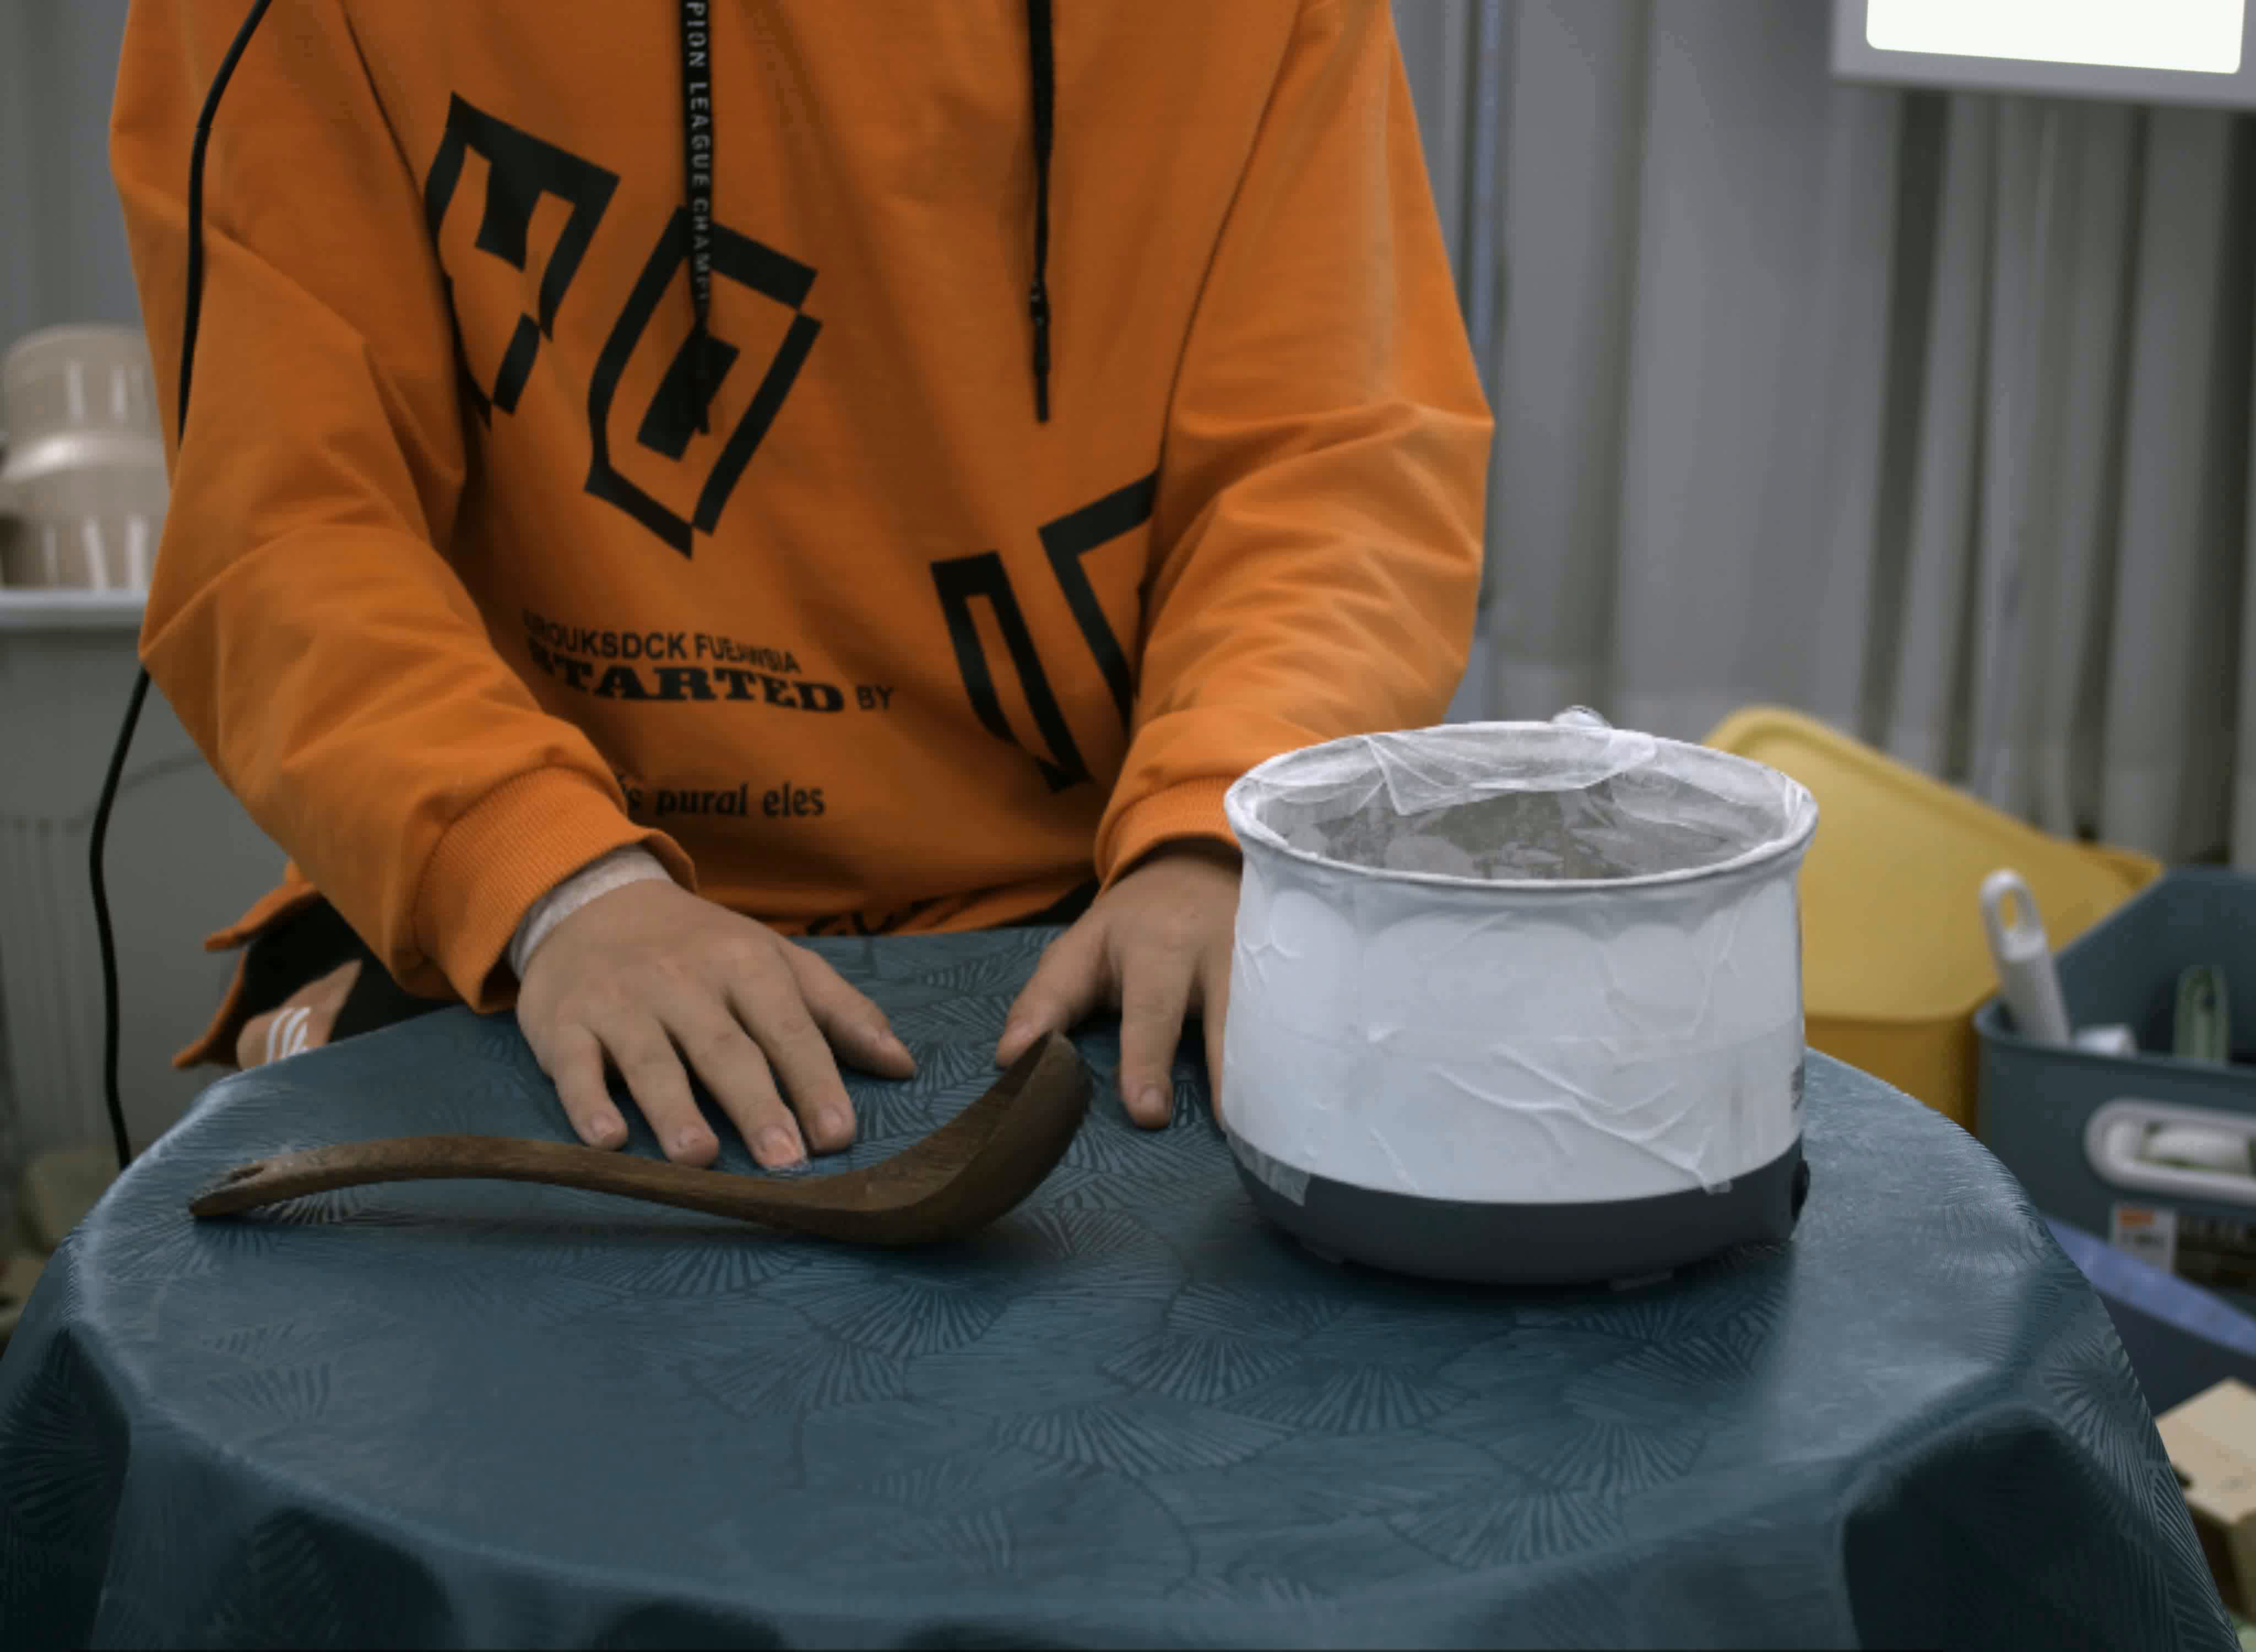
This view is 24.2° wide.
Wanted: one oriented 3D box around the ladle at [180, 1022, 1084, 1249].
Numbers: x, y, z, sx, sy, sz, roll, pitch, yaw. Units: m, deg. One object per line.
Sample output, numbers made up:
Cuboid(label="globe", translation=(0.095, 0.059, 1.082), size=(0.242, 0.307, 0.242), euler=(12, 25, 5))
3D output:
Cuboid(label="ladle", translation=(-0.149, 0.088, 1.576), size=(0.273, 0.072, 0.076), euler=(3, 13, 5))

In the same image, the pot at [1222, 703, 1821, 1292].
Cuboid(label="pot", translation=(0.123, 0.046, 1.608), size=(0.177, 0.138, 0.233), euler=(4, 16, 12))
